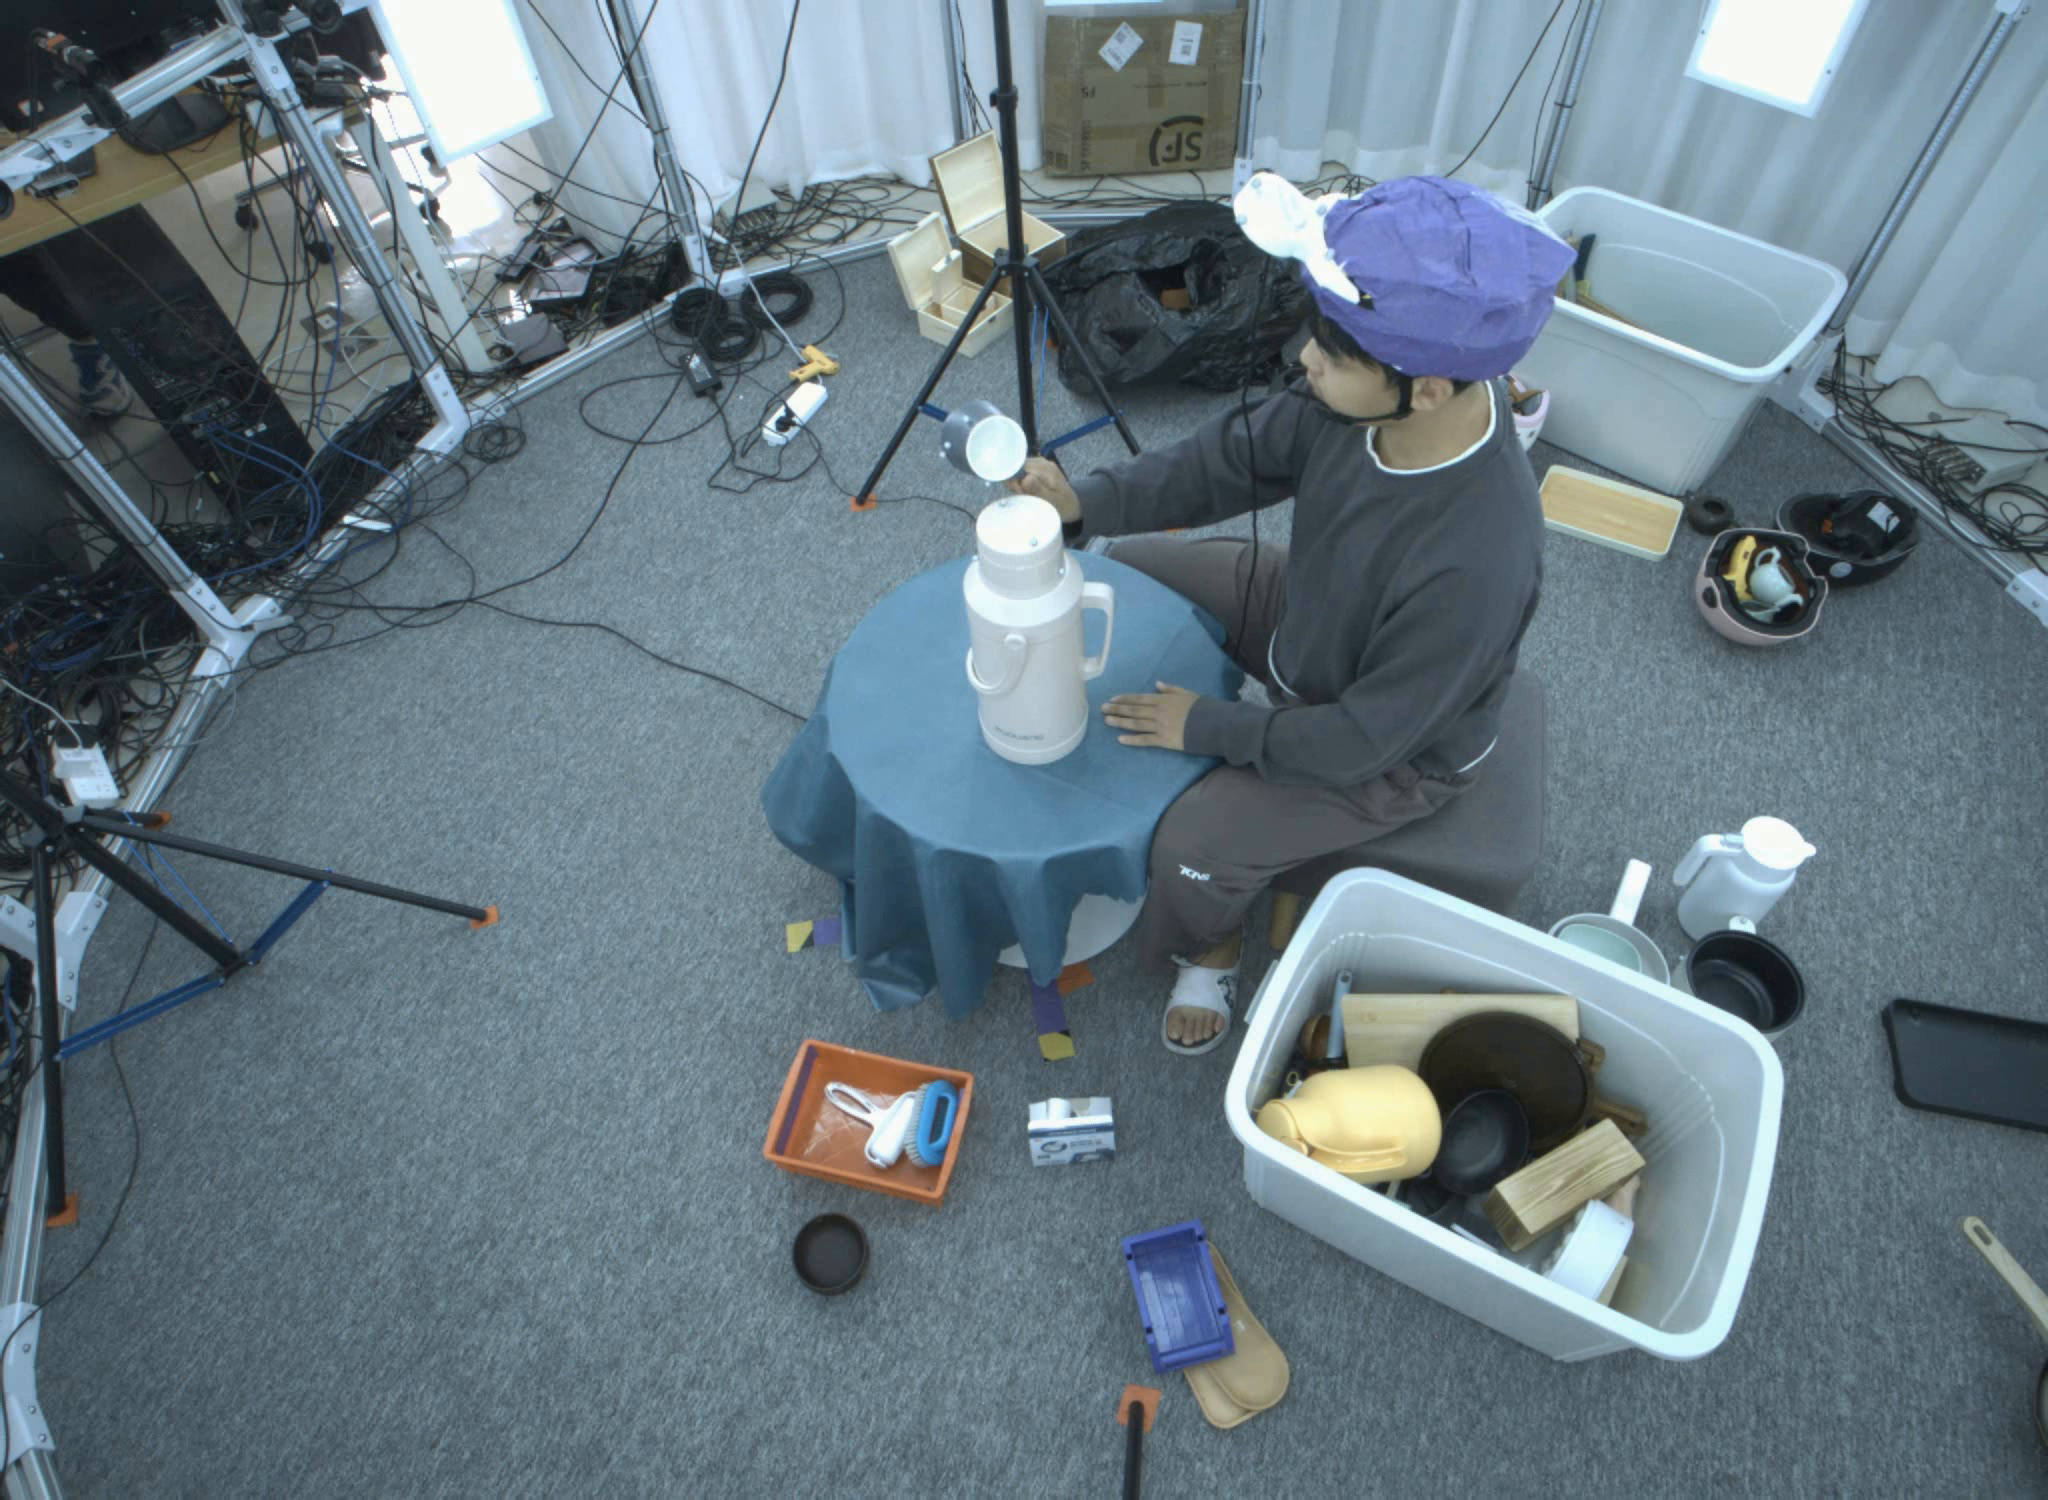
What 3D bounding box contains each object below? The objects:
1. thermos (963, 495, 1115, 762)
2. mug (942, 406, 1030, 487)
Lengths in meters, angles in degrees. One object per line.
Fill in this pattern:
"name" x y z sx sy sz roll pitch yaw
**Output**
"thermos" 0.018 -0.158 1.655 0.206 0.411 0.174 3 55 6
"mug" -0.041 -0.376 1.526 0.093 0.126 0.088 -47 34 3
